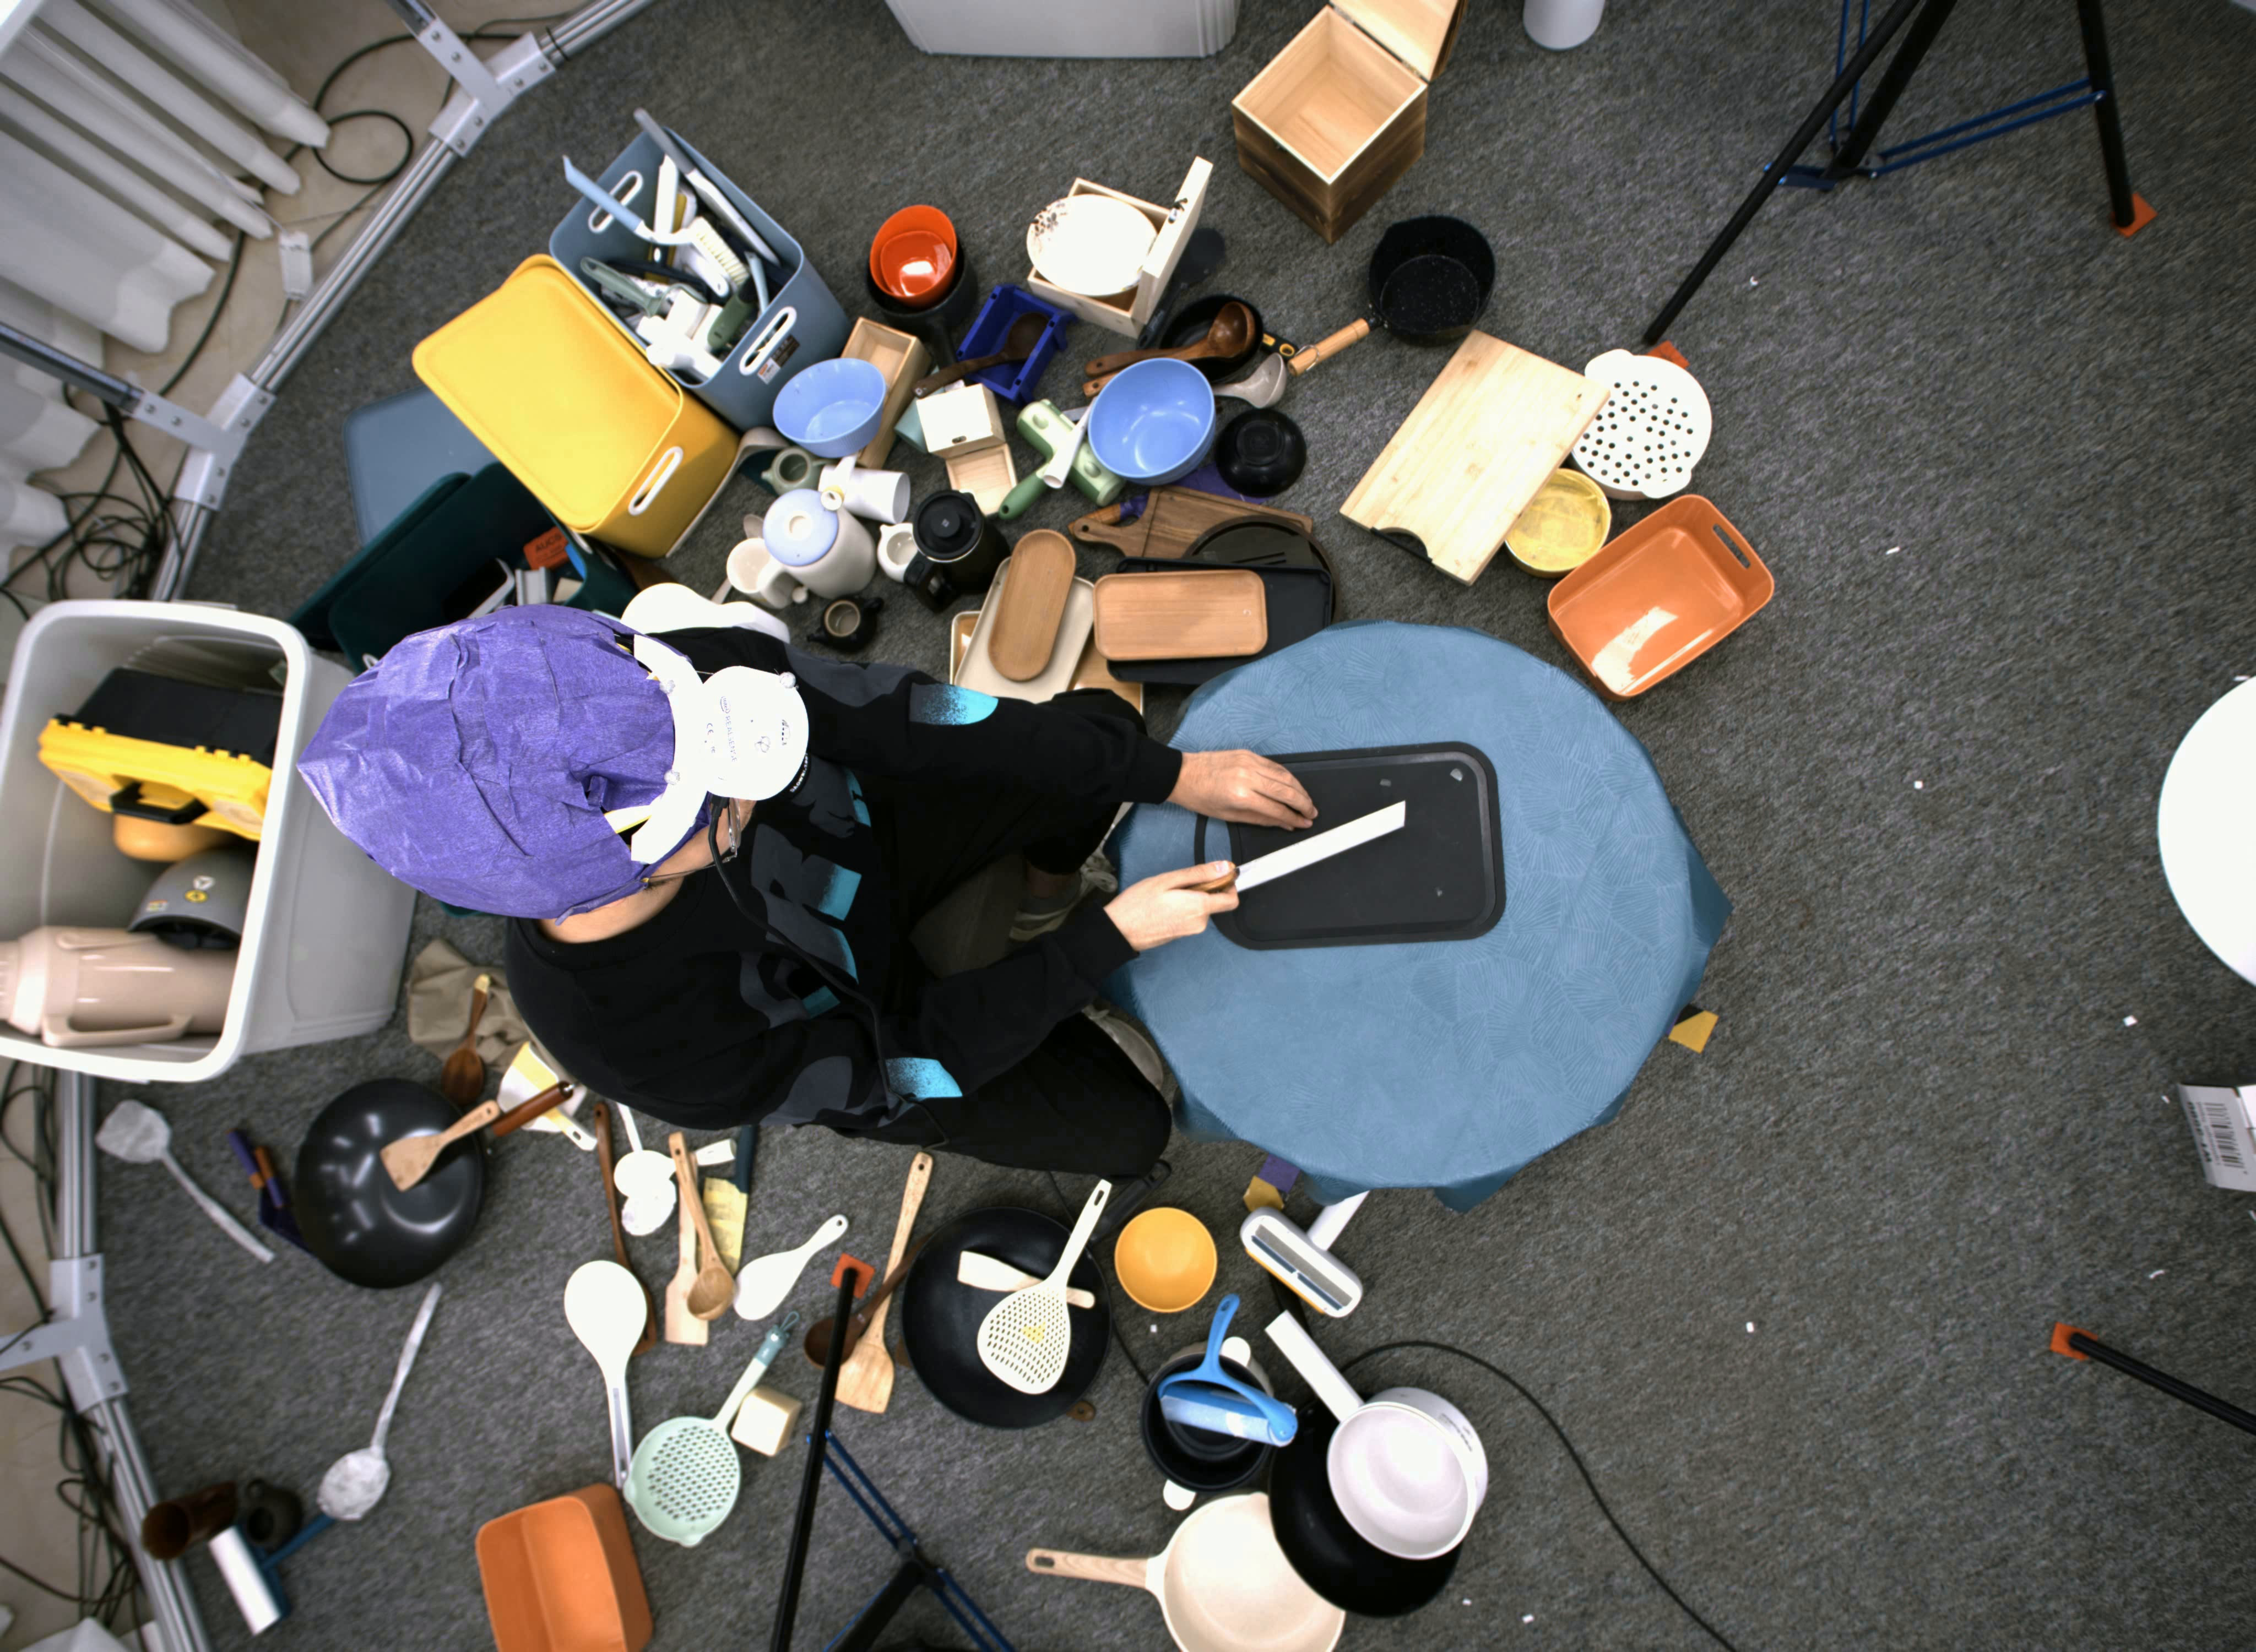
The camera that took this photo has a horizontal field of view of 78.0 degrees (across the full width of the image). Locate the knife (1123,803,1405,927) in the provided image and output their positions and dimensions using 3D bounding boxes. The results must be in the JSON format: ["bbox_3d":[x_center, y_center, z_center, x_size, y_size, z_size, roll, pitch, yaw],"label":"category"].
[{"bbox_3d":[0.143,0.043,1.427,0.307,0.094,0.021,-22,72,5],"label":"knife"}]

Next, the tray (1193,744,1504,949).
[{"bbox_3d":[0.230,0.022,1.466,0.327,0.010,0.210,-3,86,10],"label":"tray"}]
